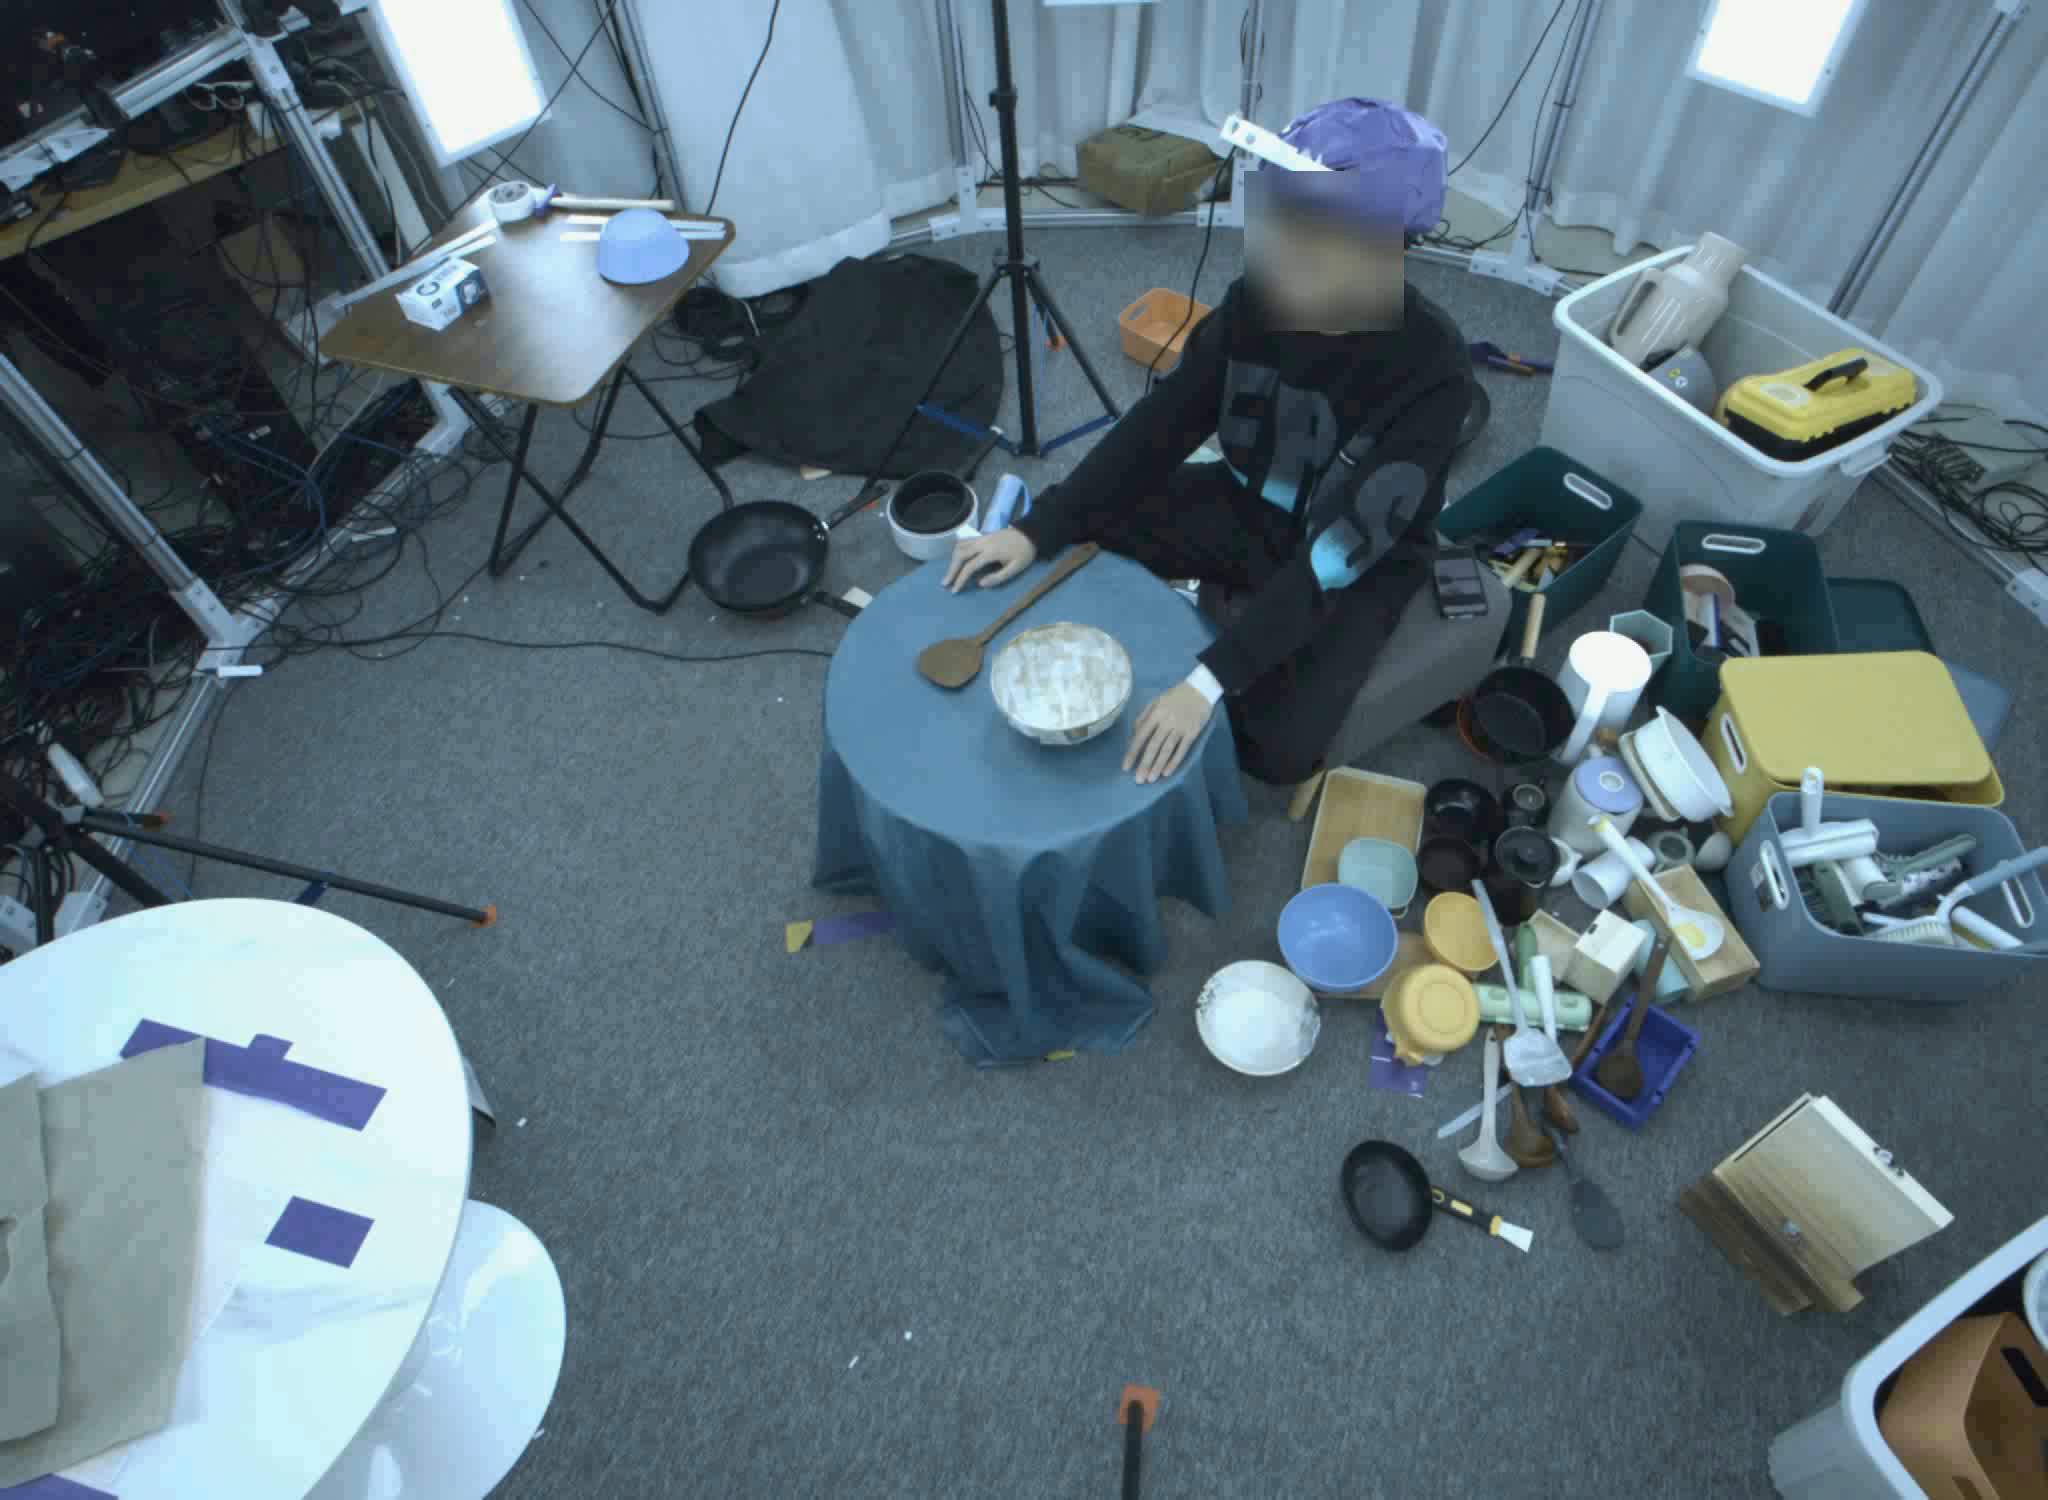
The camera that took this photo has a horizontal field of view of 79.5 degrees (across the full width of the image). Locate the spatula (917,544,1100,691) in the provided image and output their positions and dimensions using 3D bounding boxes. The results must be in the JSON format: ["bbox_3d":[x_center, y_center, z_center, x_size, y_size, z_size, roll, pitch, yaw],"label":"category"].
[{"bbox_3d":[-0.011,-0.221,1.946,0.094,0.016,0.388,36,63,23],"label":"spatula"}]

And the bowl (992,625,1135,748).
[{"bbox_3d":[0.061,-0.077,1.792,0.214,0.095,0.212,-1,53,2],"label":"bowl"}]
